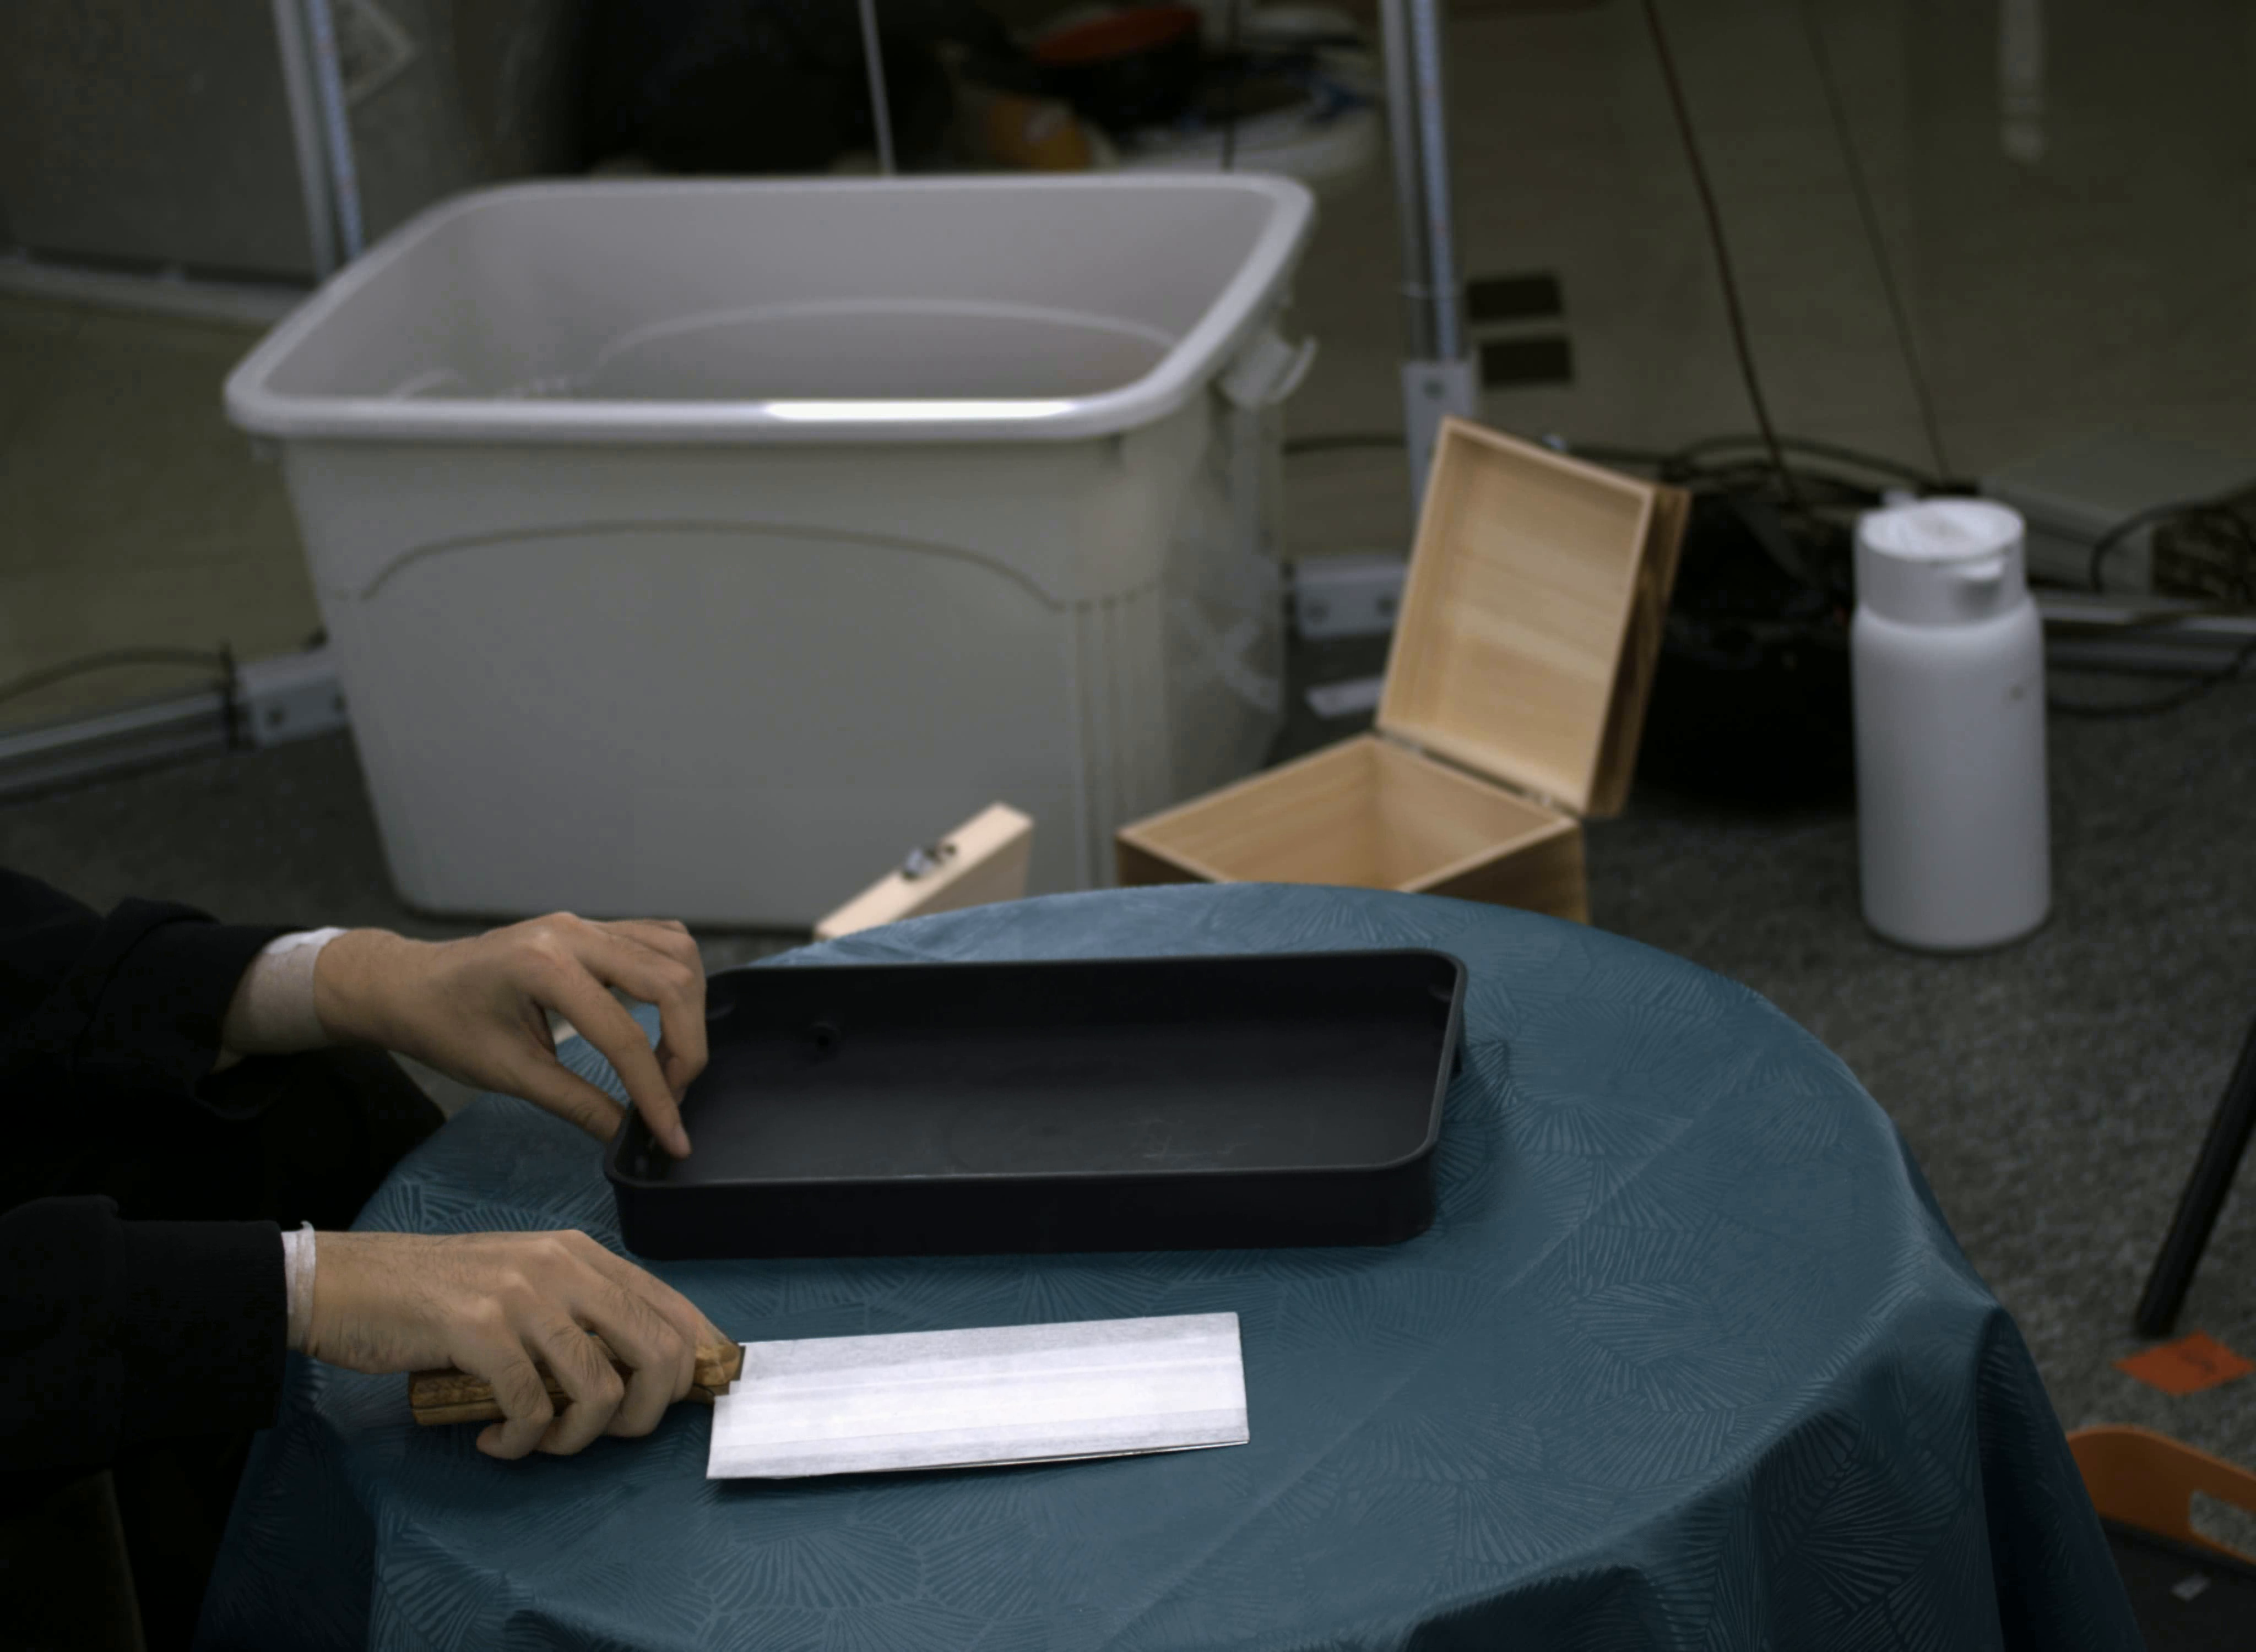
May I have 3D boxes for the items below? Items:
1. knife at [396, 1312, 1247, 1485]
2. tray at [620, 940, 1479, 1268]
[{"bbox_3d":[-0.111,0.205,2.015,0.305,0.021,0.091,-4,27,0],"label":"knife"},{"bbox_3d":[-0.026,0.105,2.181,0.317,0.037,0.181,-3,26,8],"label":"tray"}]
